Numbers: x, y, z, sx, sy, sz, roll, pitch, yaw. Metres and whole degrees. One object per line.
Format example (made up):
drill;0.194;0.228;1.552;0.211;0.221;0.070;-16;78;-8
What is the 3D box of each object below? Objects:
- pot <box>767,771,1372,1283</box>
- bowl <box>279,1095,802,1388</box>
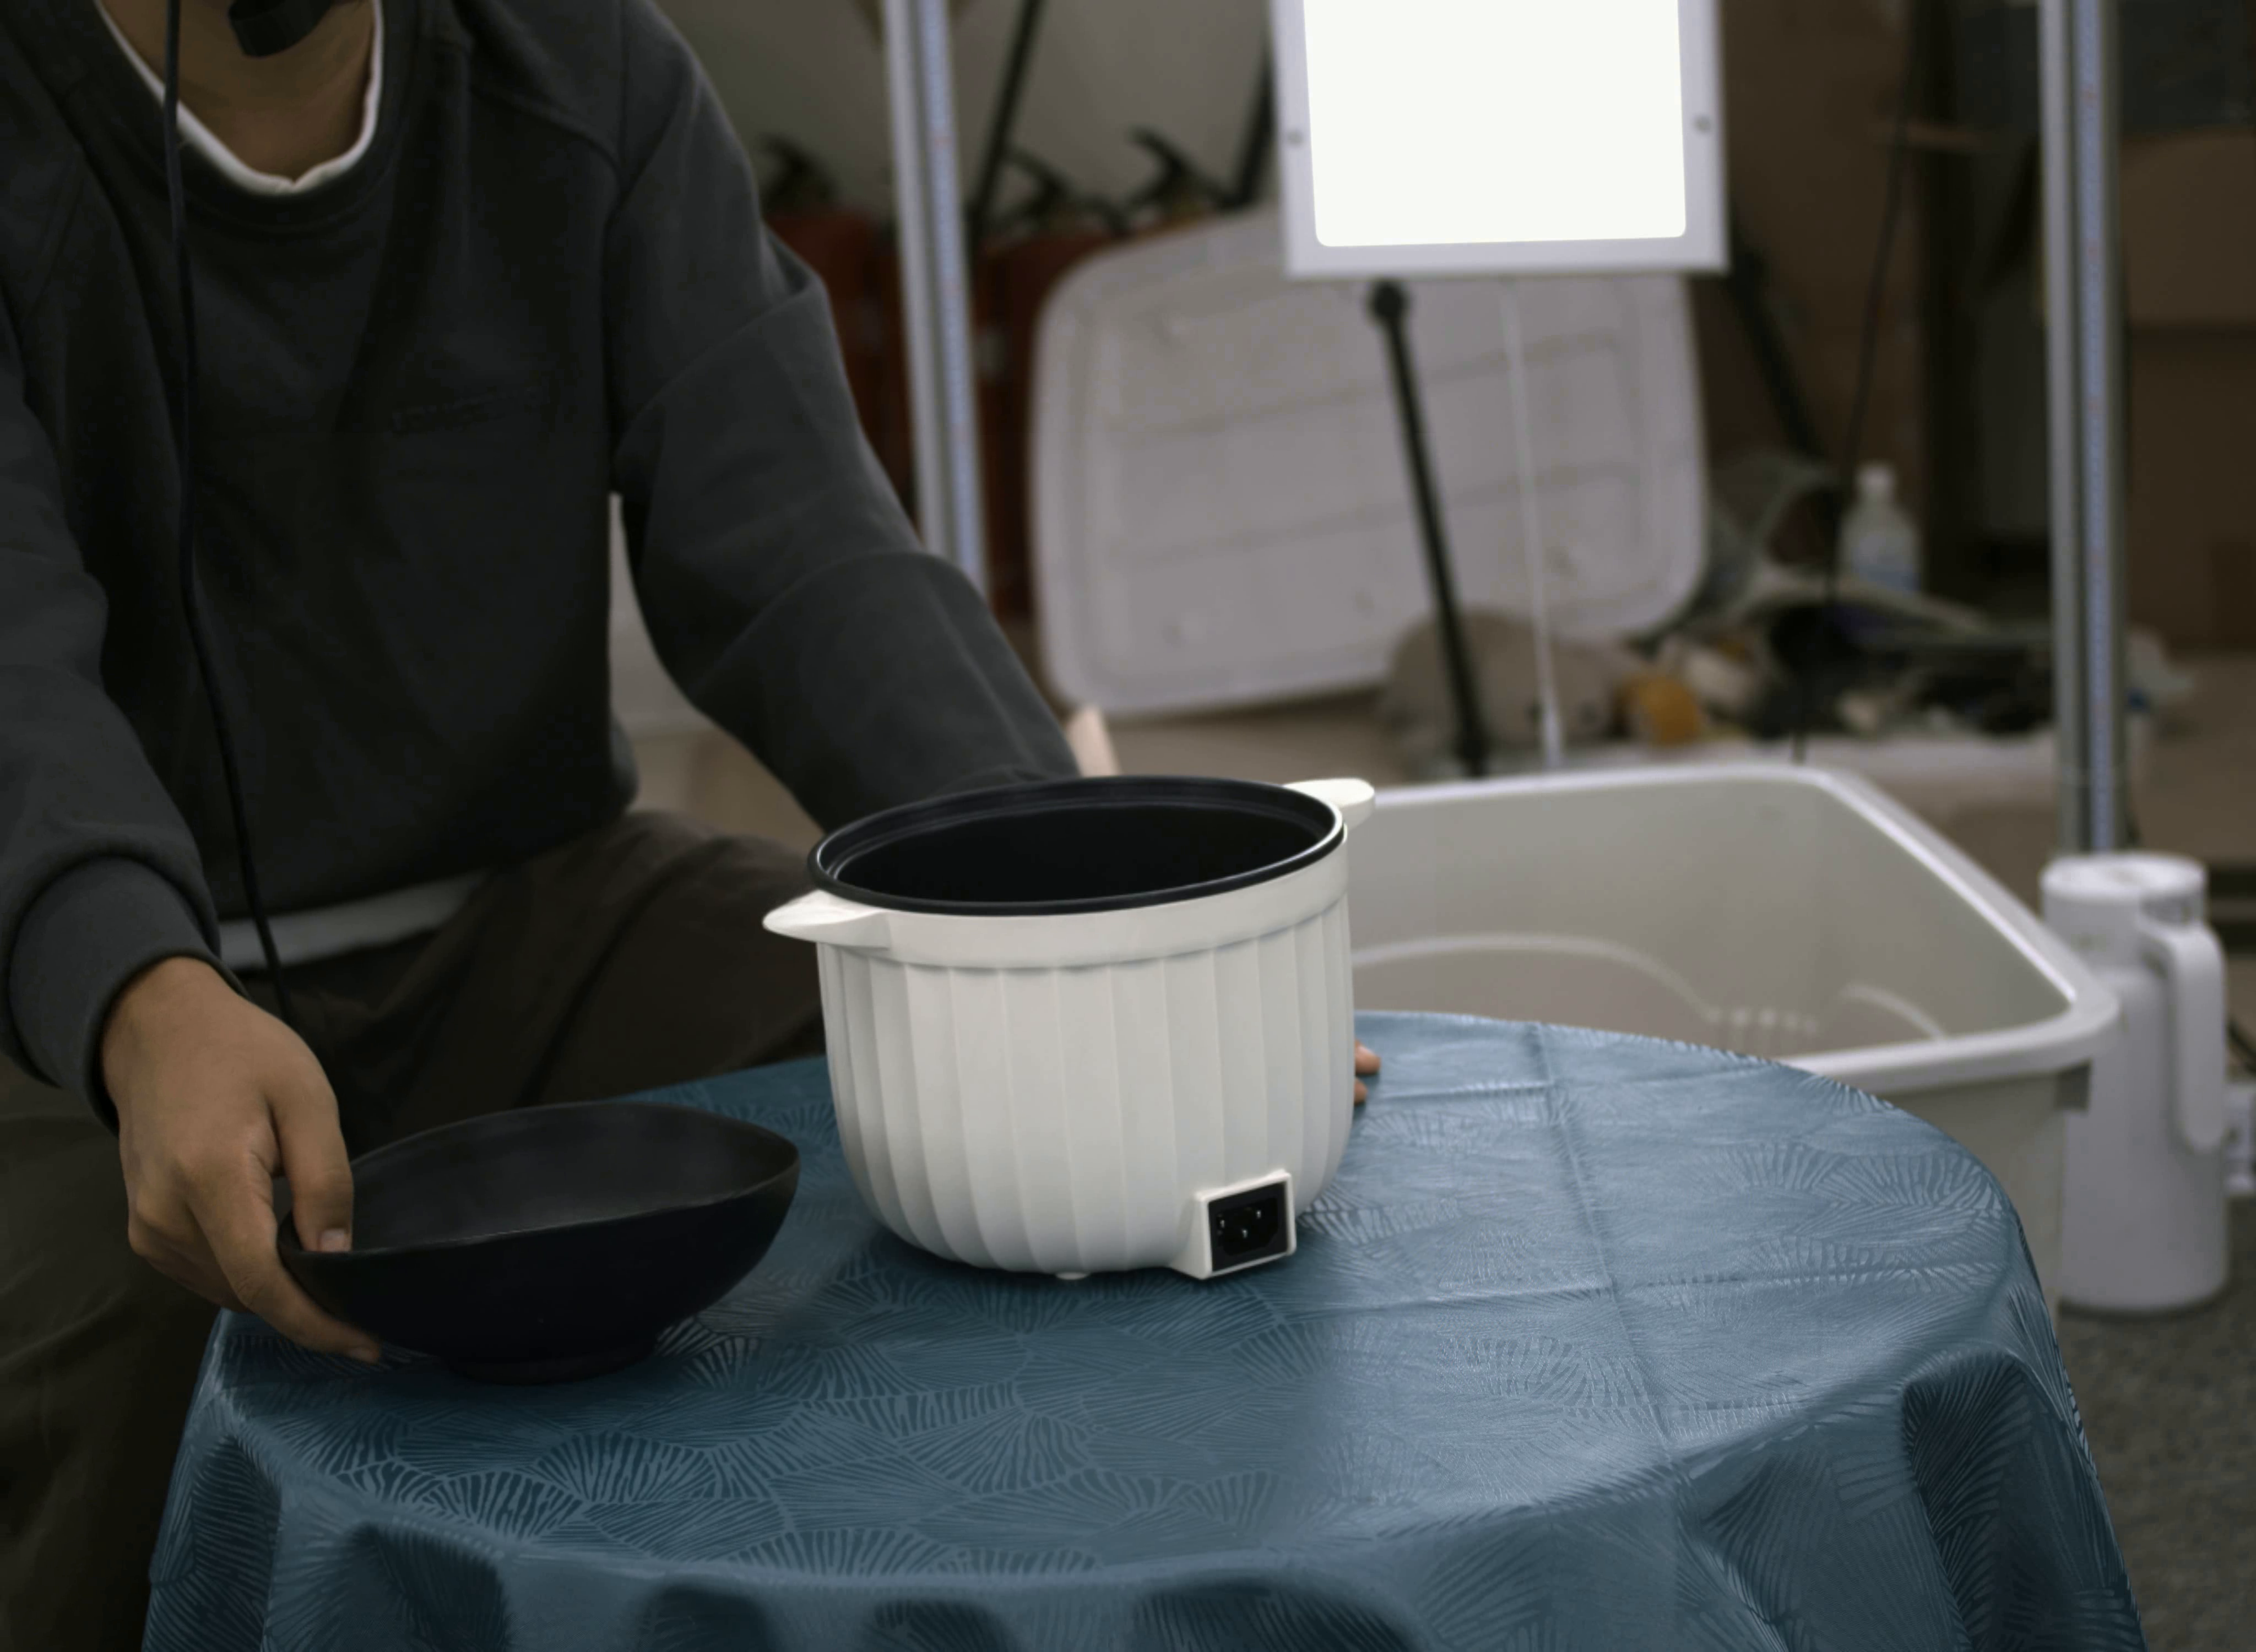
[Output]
pot;-0.016;0.068;1.855;0.234;0.143;0.194;-12;18;-32
bowl;-0.185;0.139;1.774;0.168;0.067;0.139;-9;14;-14
